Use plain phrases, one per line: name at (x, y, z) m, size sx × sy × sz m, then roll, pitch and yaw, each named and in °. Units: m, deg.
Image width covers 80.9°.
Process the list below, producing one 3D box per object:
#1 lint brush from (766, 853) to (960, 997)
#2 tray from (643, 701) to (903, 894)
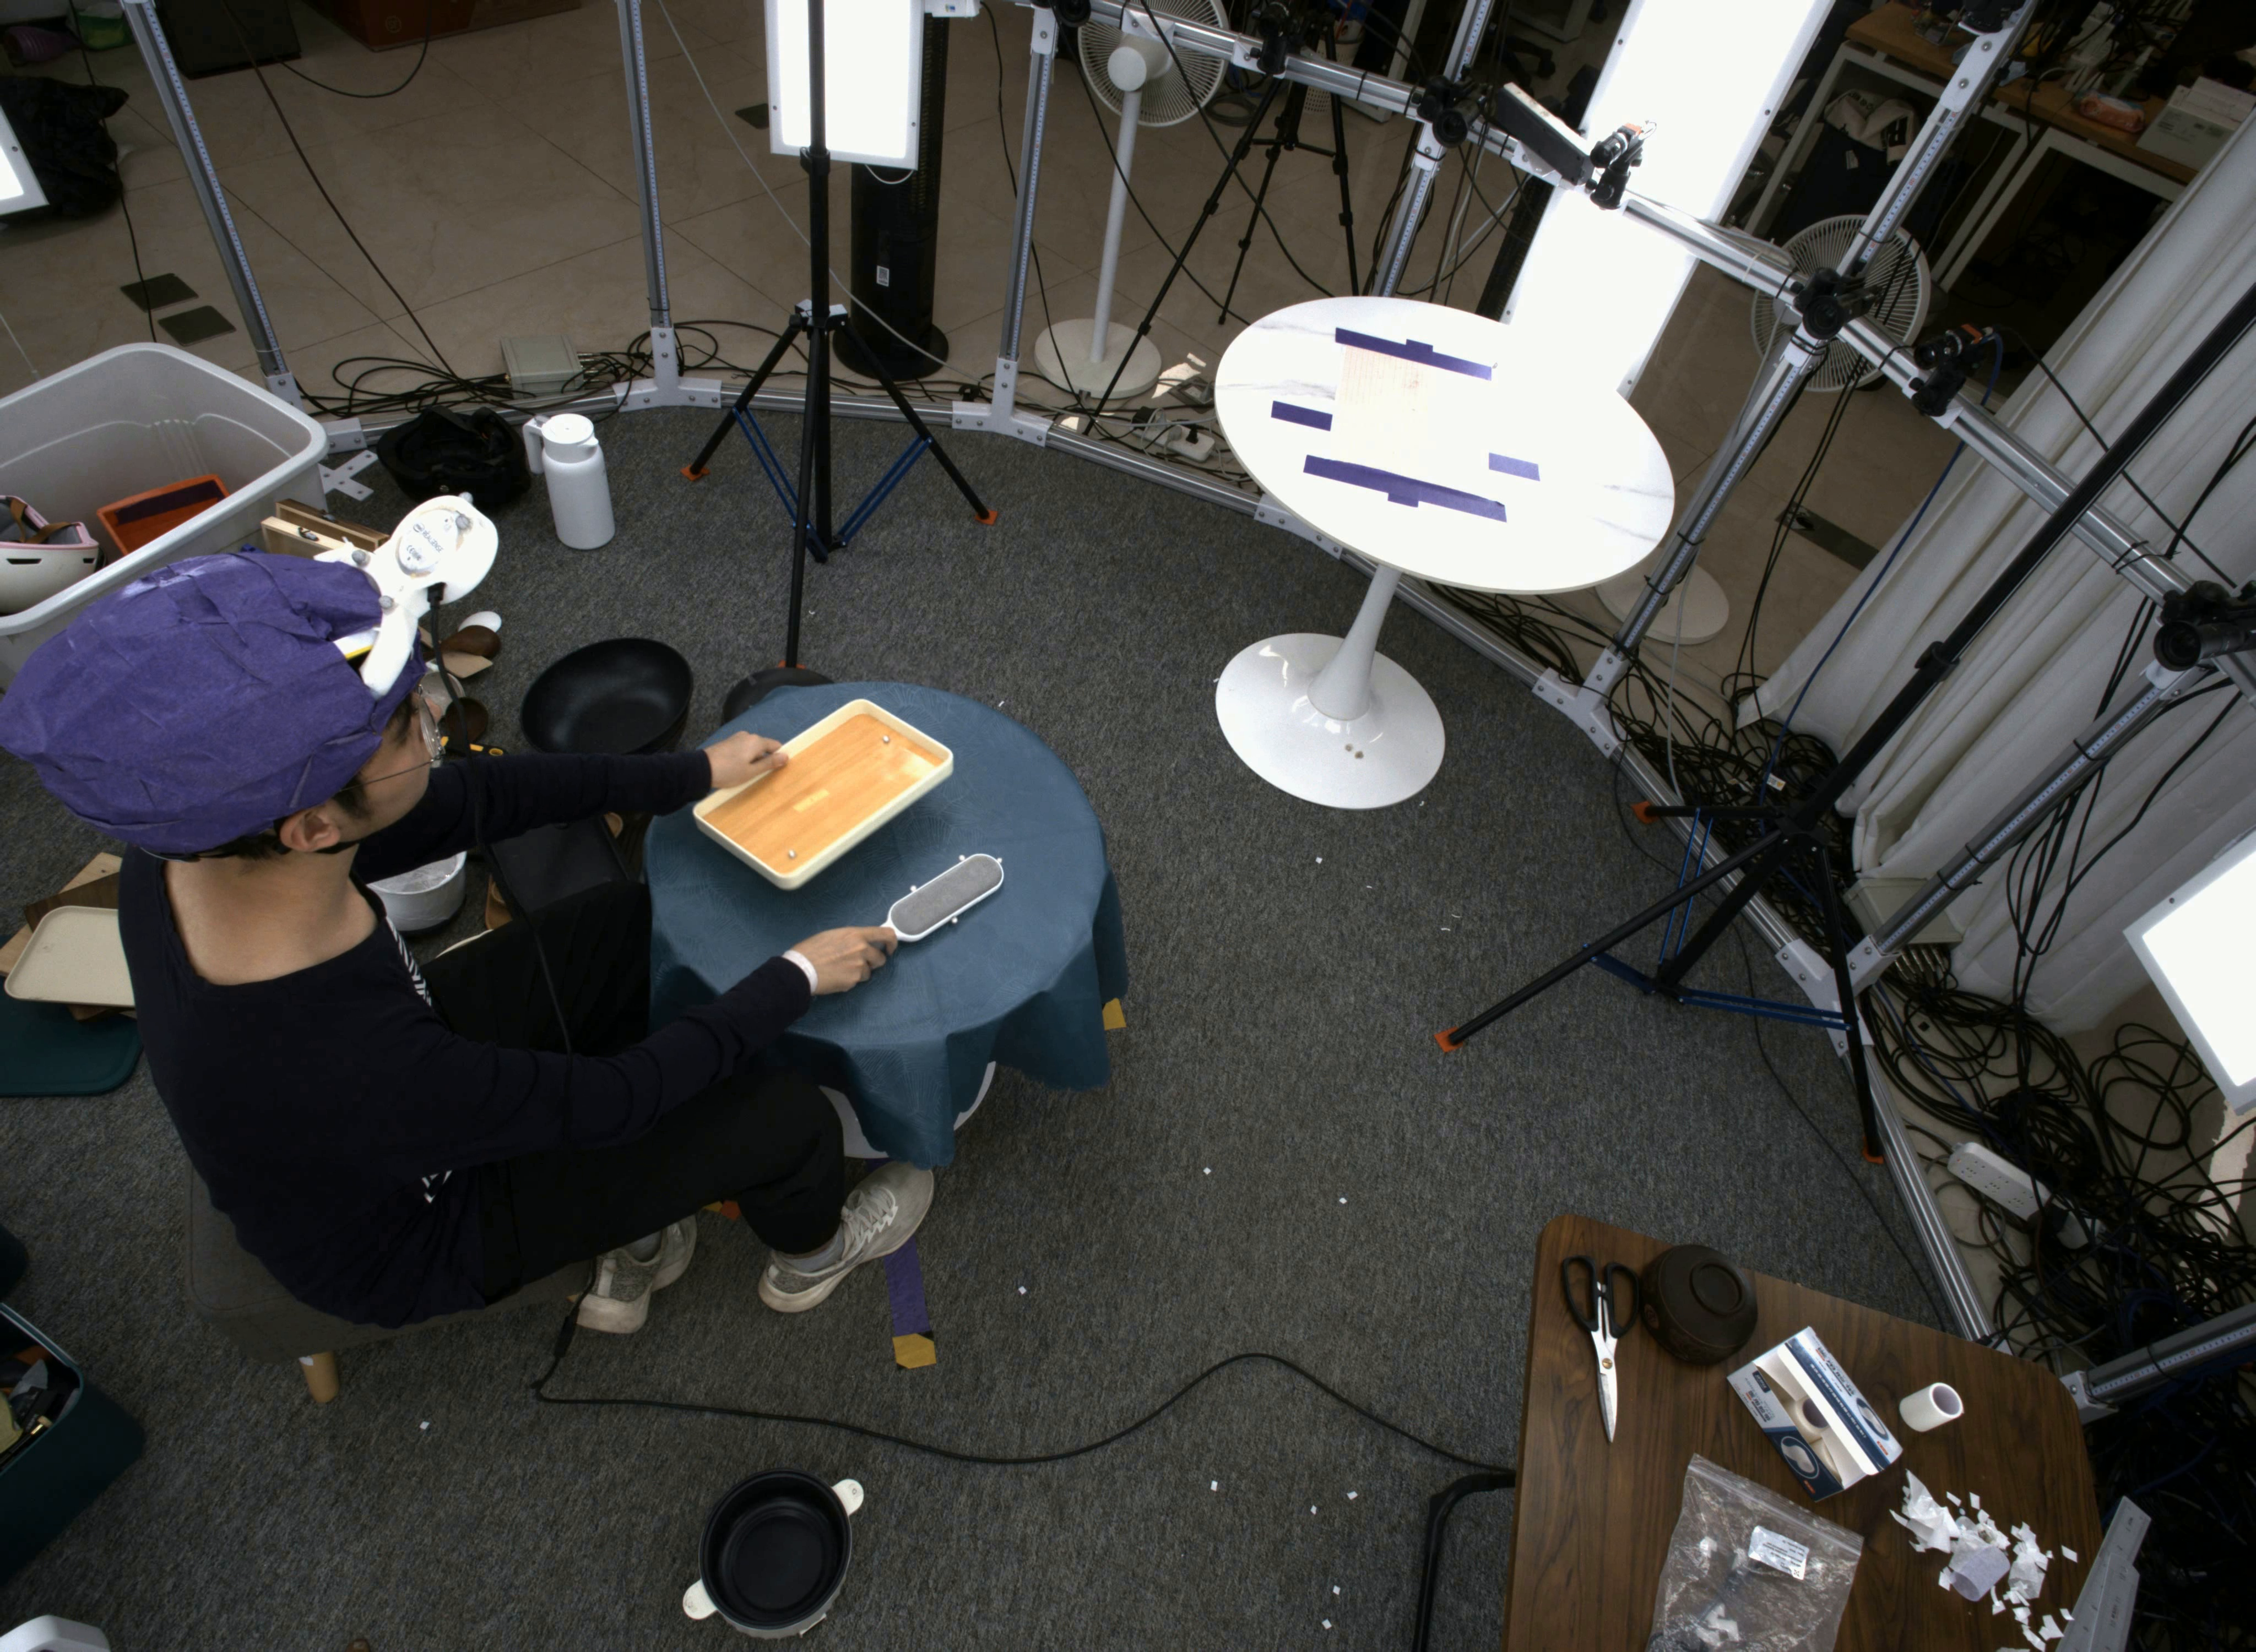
lint brush at (-0.330, 0.121, 1.635) m, size 0.309 × 0.021 × 0.060 m, roll -37°, pitch 89°, yaw -38°
tray at (-0.453, -0.044, 1.664) m, size 0.185 × 0.028 × 0.300 m, roll 28°, pitch 51°, yaw 24°
